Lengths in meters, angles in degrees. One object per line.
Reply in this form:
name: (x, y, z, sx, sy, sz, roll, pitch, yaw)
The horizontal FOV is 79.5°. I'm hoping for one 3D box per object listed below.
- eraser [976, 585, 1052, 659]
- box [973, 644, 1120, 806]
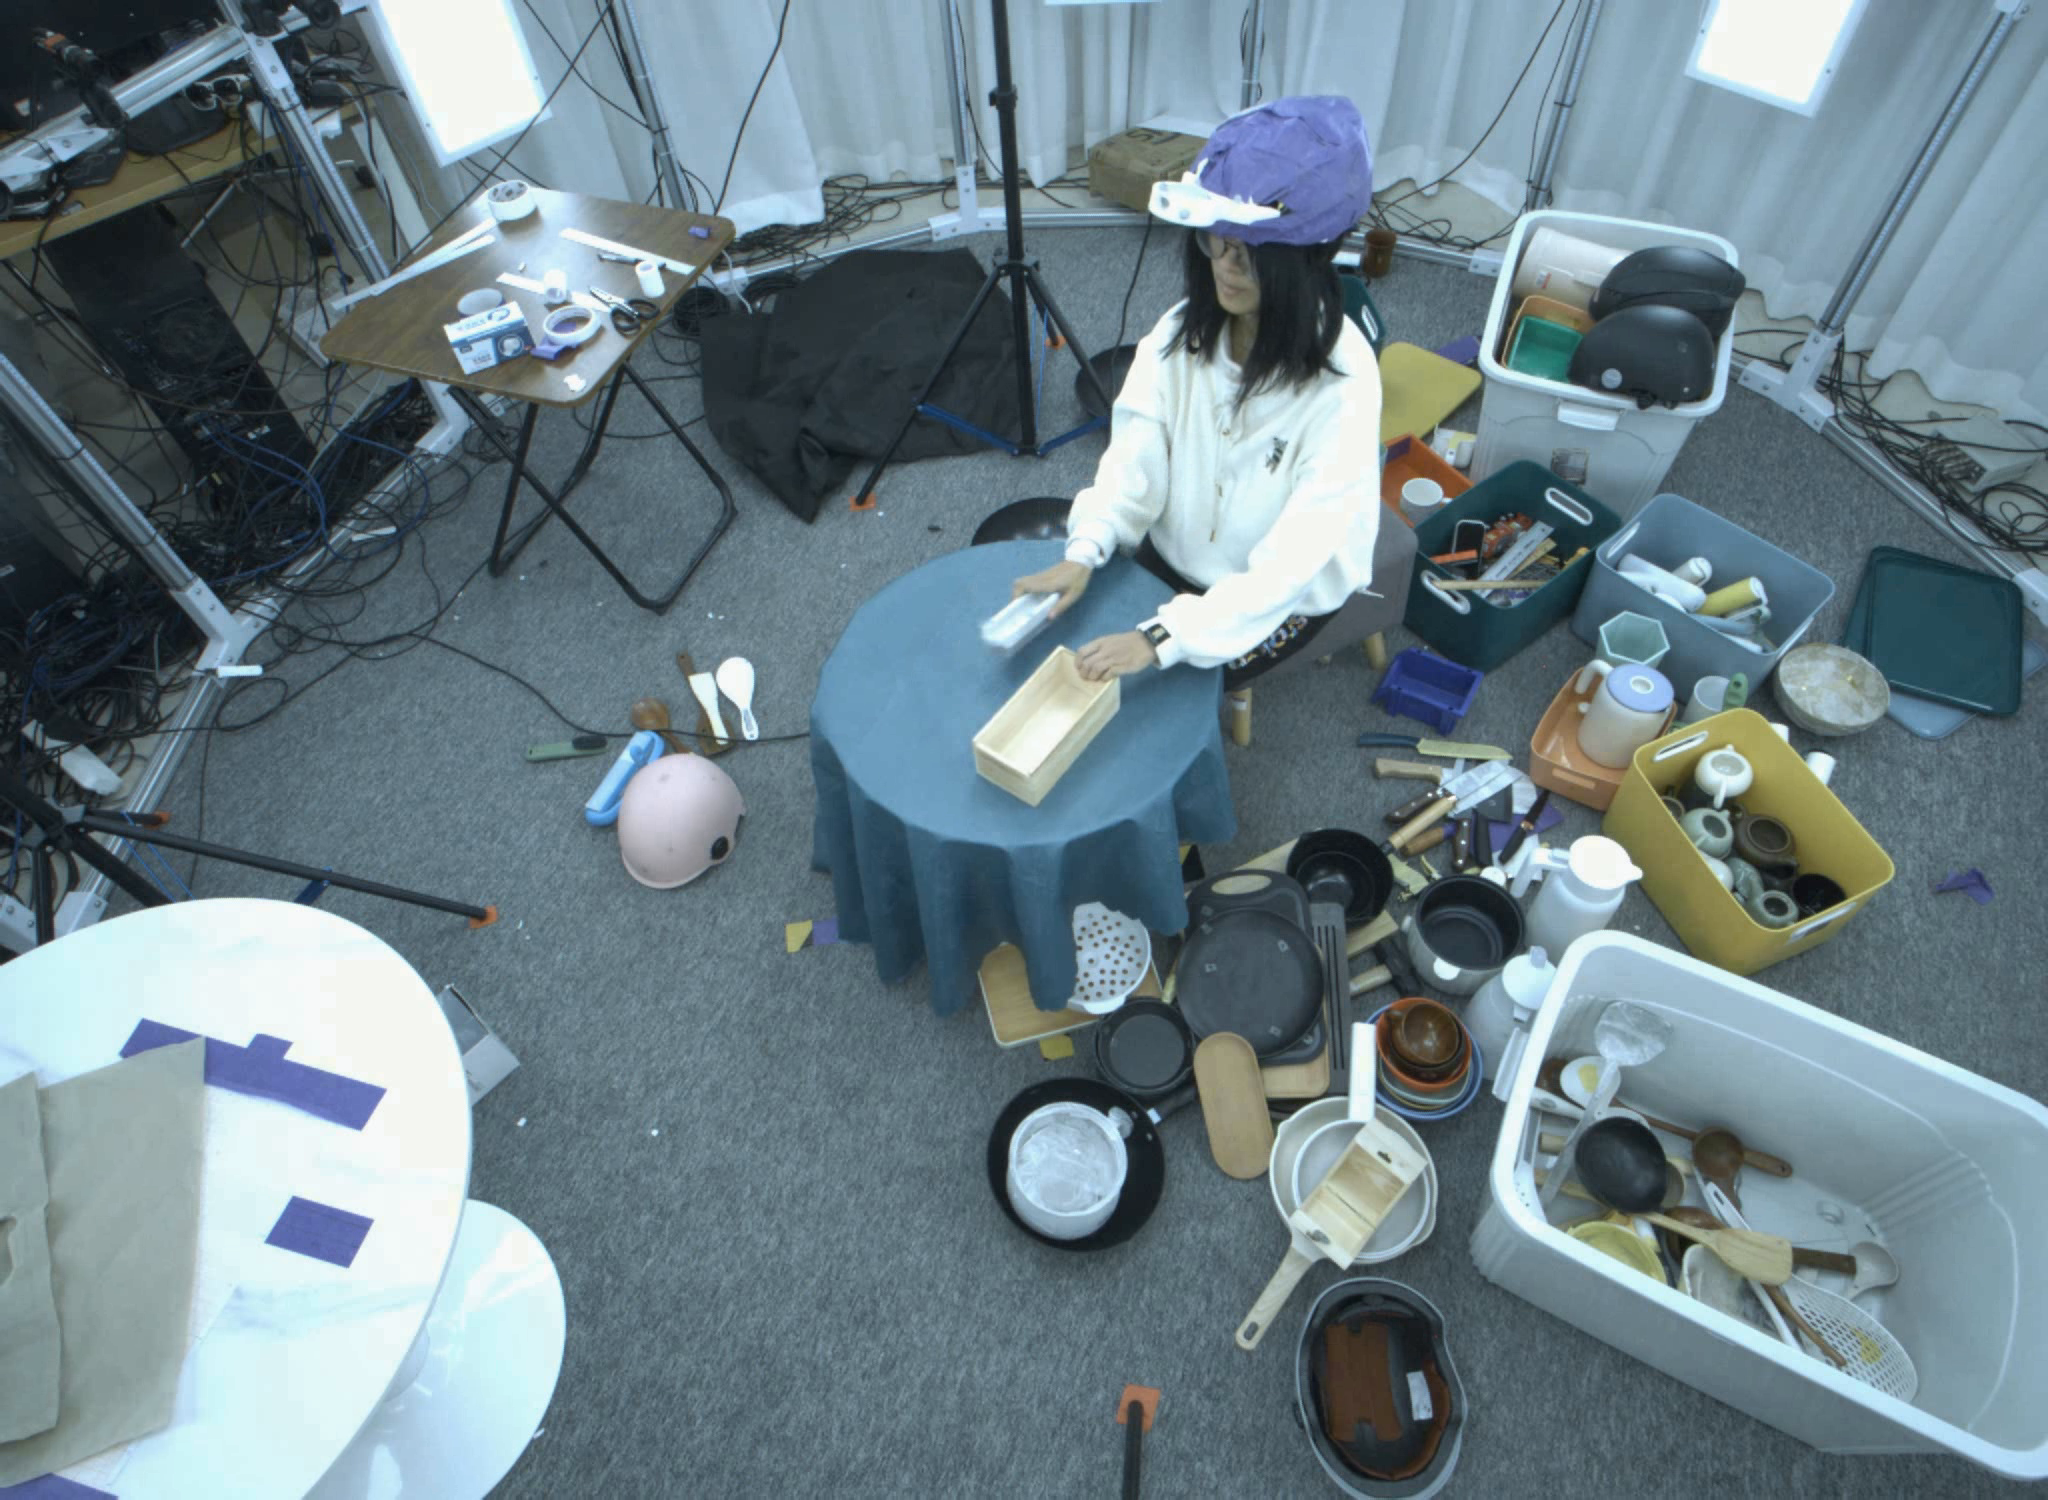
eraser: (-0.015, -0.194, 1.857, 0.049, 0.047, 0.135, 23, 48, 25)
box: (0.036, -0.038, 1.763, 0.106, 0.081, 0.212, 30, 62, 21)
